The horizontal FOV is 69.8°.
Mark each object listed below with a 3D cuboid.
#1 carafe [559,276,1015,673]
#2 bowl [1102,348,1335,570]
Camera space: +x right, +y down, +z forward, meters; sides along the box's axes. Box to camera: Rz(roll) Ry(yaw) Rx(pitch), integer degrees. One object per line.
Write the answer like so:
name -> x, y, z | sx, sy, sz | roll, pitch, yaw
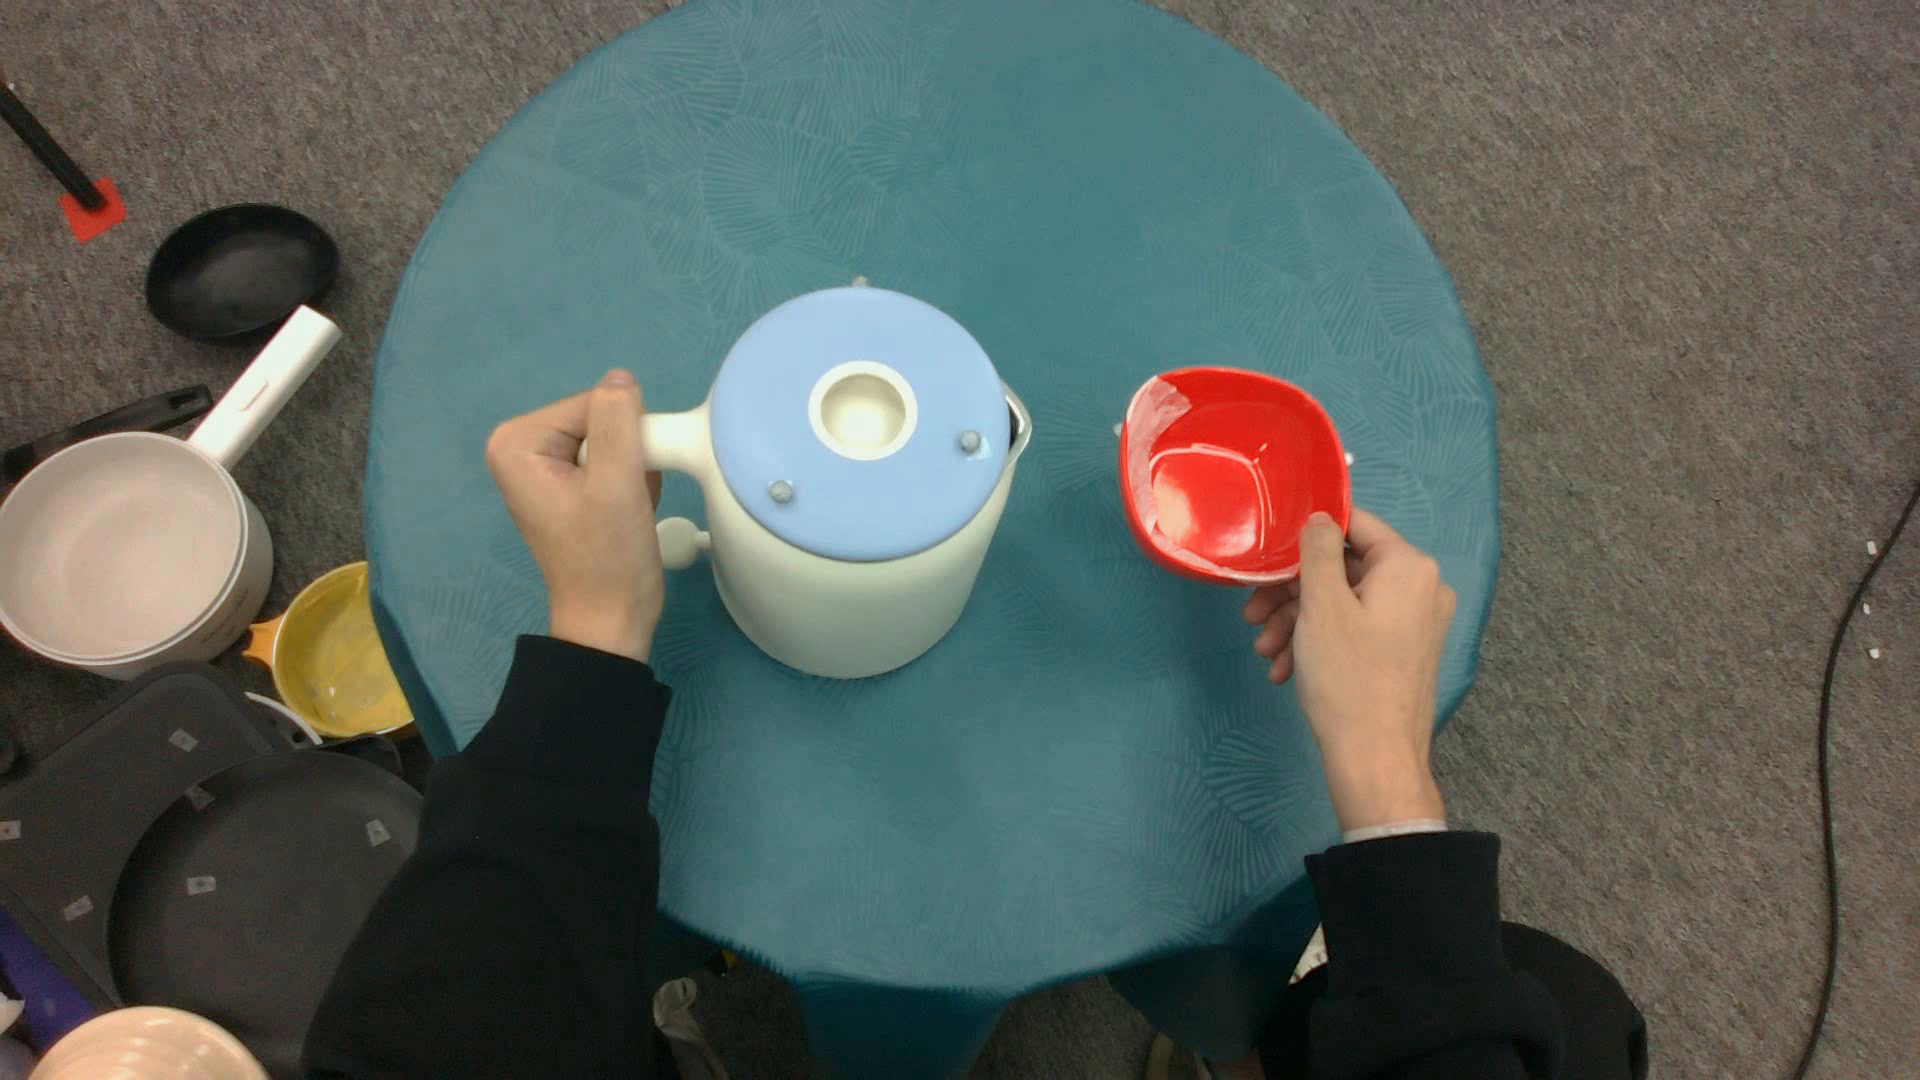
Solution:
carafe -> -0.080, -0.022, 0.613 | 0.191, 0.182, 0.132 | -2, 69, -7
bowl -> 0.115, -0.031, 0.650 | 0.119, 0.051, 0.119 | 5, 64, -11
